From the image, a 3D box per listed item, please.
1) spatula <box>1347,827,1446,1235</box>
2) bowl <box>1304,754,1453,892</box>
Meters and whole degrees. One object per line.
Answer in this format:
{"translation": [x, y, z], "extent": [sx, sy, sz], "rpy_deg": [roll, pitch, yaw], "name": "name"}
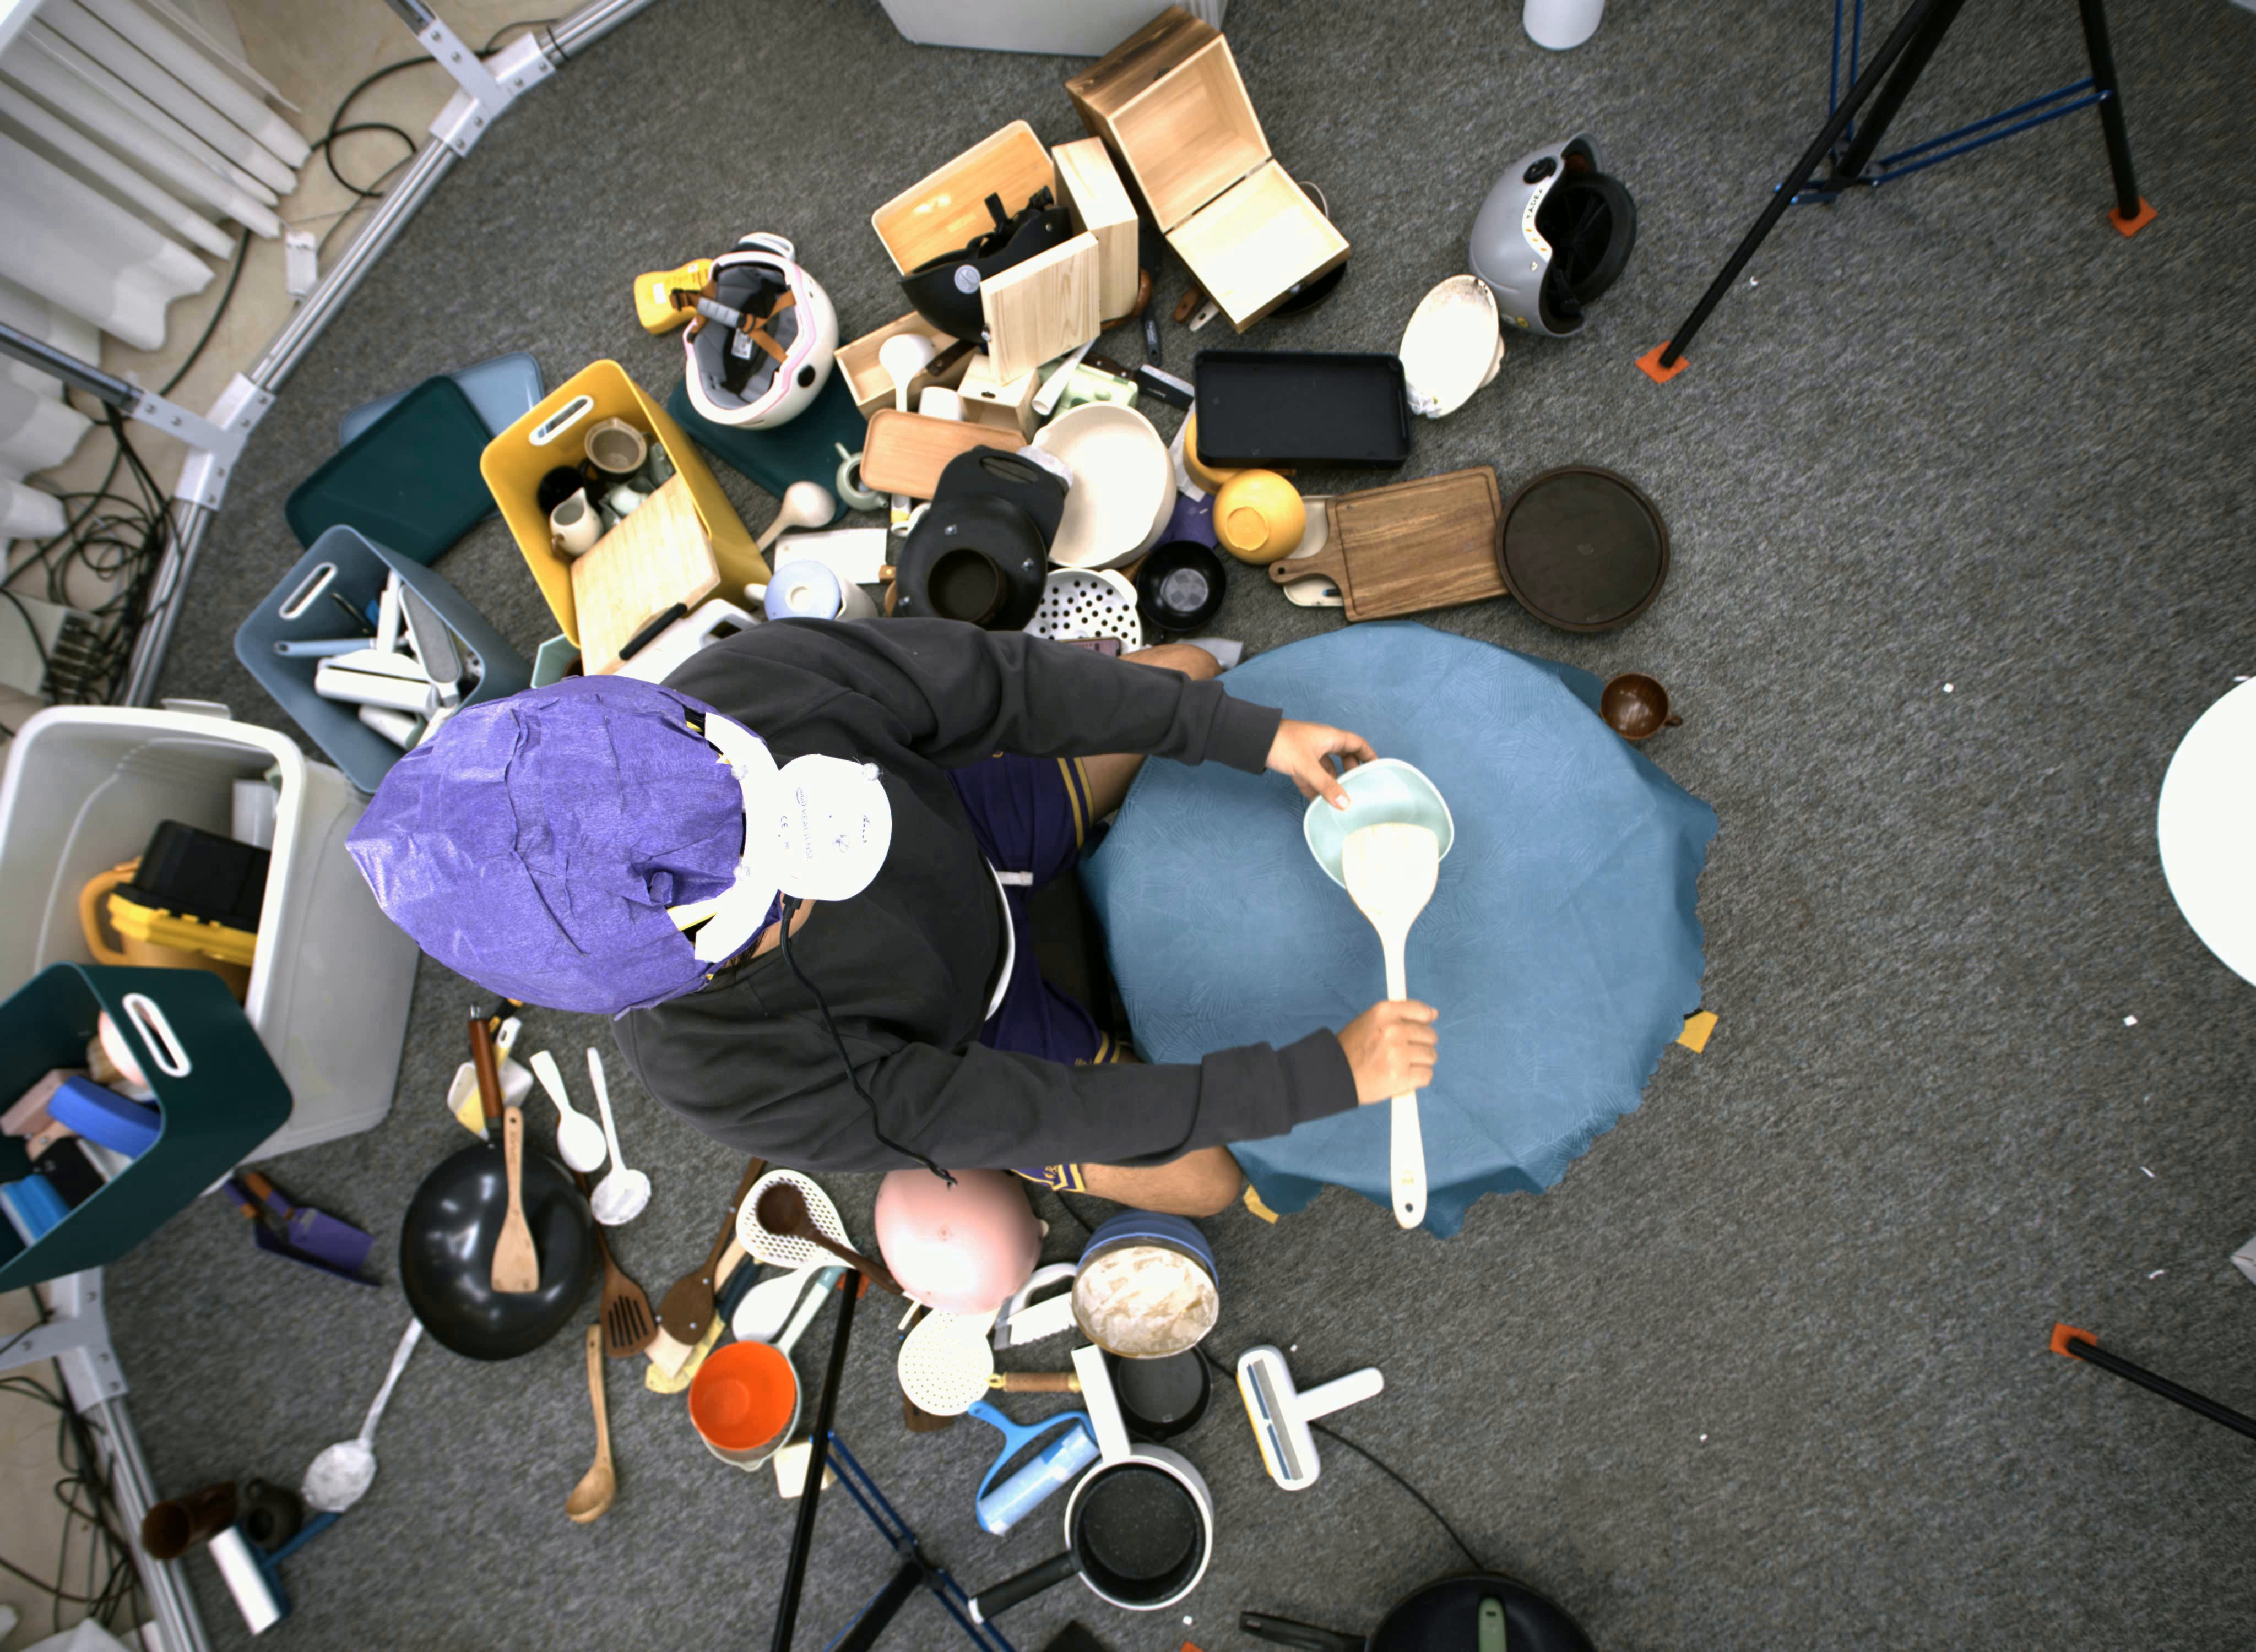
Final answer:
{"translation": [0.259, 0.179, 1.288], "extent": [0.096, 0.019, 0.383], "rpy_deg": [-4, 66, 11], "name": "spatula"}
{"translation": [0.249, -0.012, 1.394], "extent": [0.151, 0.057, 0.154], "rpy_deg": [0, 118, 0], "name": "bowl"}
